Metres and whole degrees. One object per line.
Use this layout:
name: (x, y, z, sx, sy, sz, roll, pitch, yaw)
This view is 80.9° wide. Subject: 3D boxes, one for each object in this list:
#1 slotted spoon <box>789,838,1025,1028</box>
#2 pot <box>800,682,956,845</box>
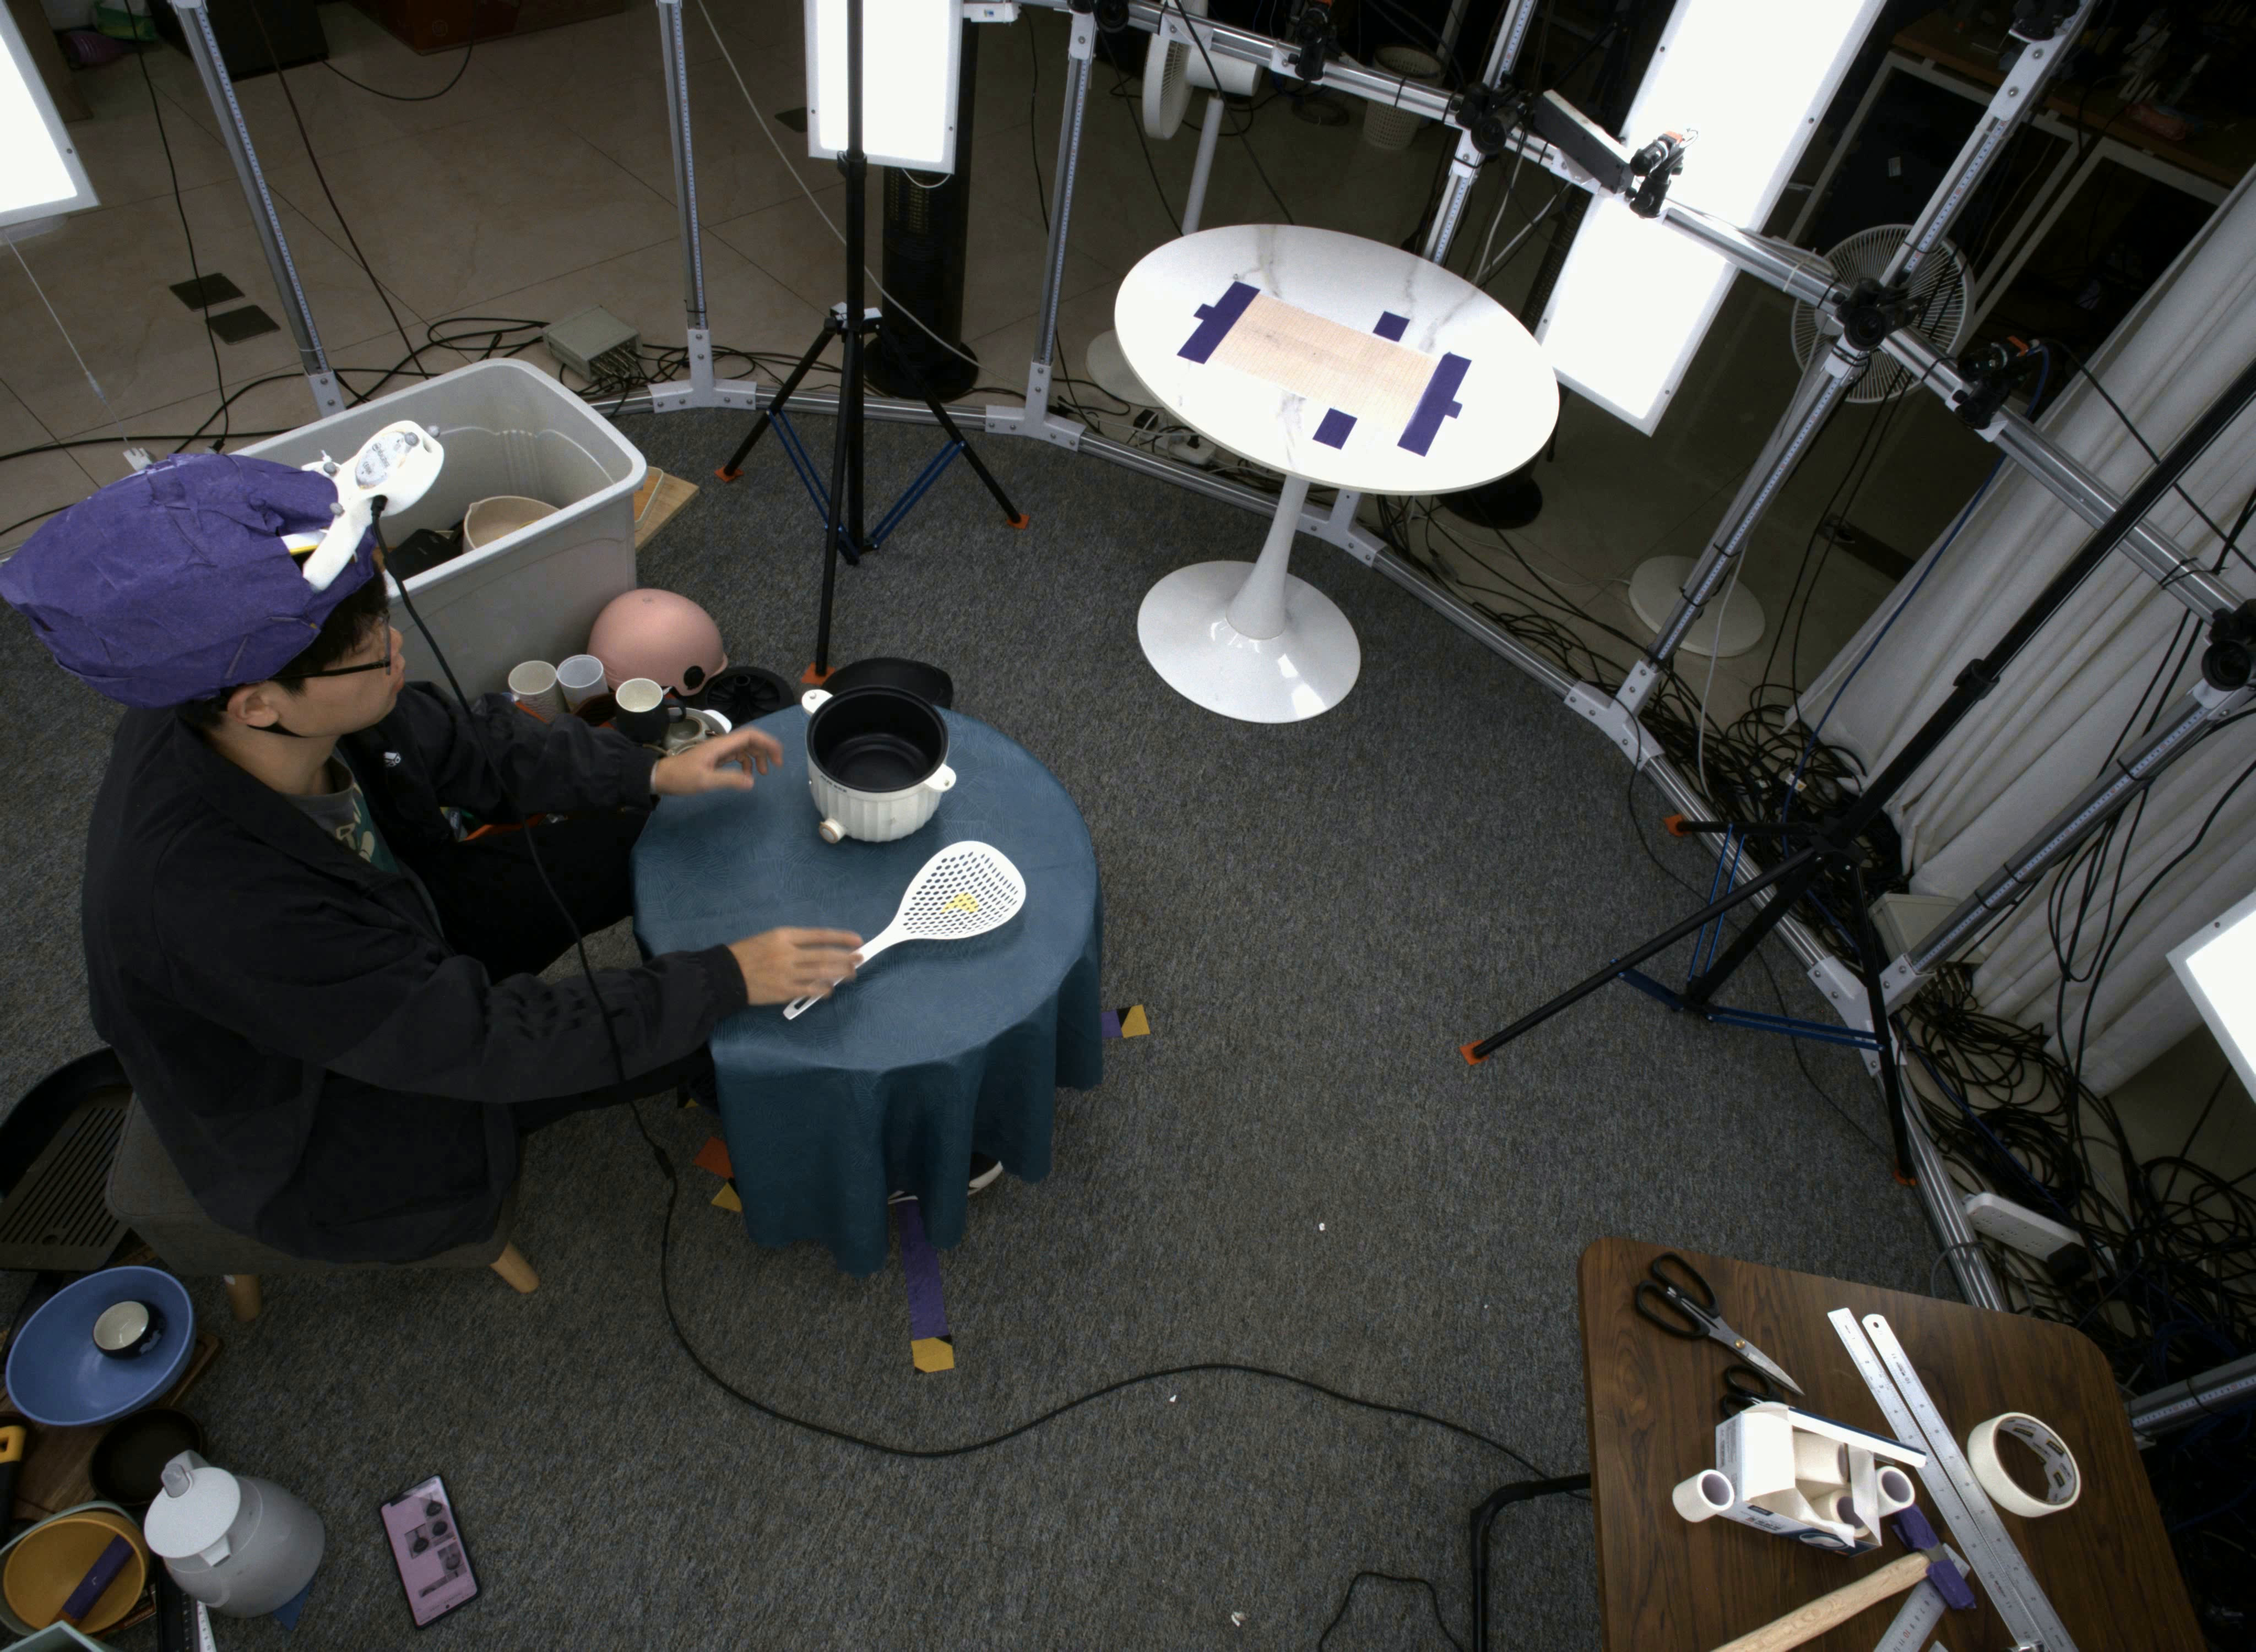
slotted spoon: (-0.283, 0.136, 1.632, 0.349, 0.051, 0.134, -33, 69, -32)
pot: (-0.333, -0.072, 1.712, 0.236, 0.146, 0.190, 30, 50, 12)
